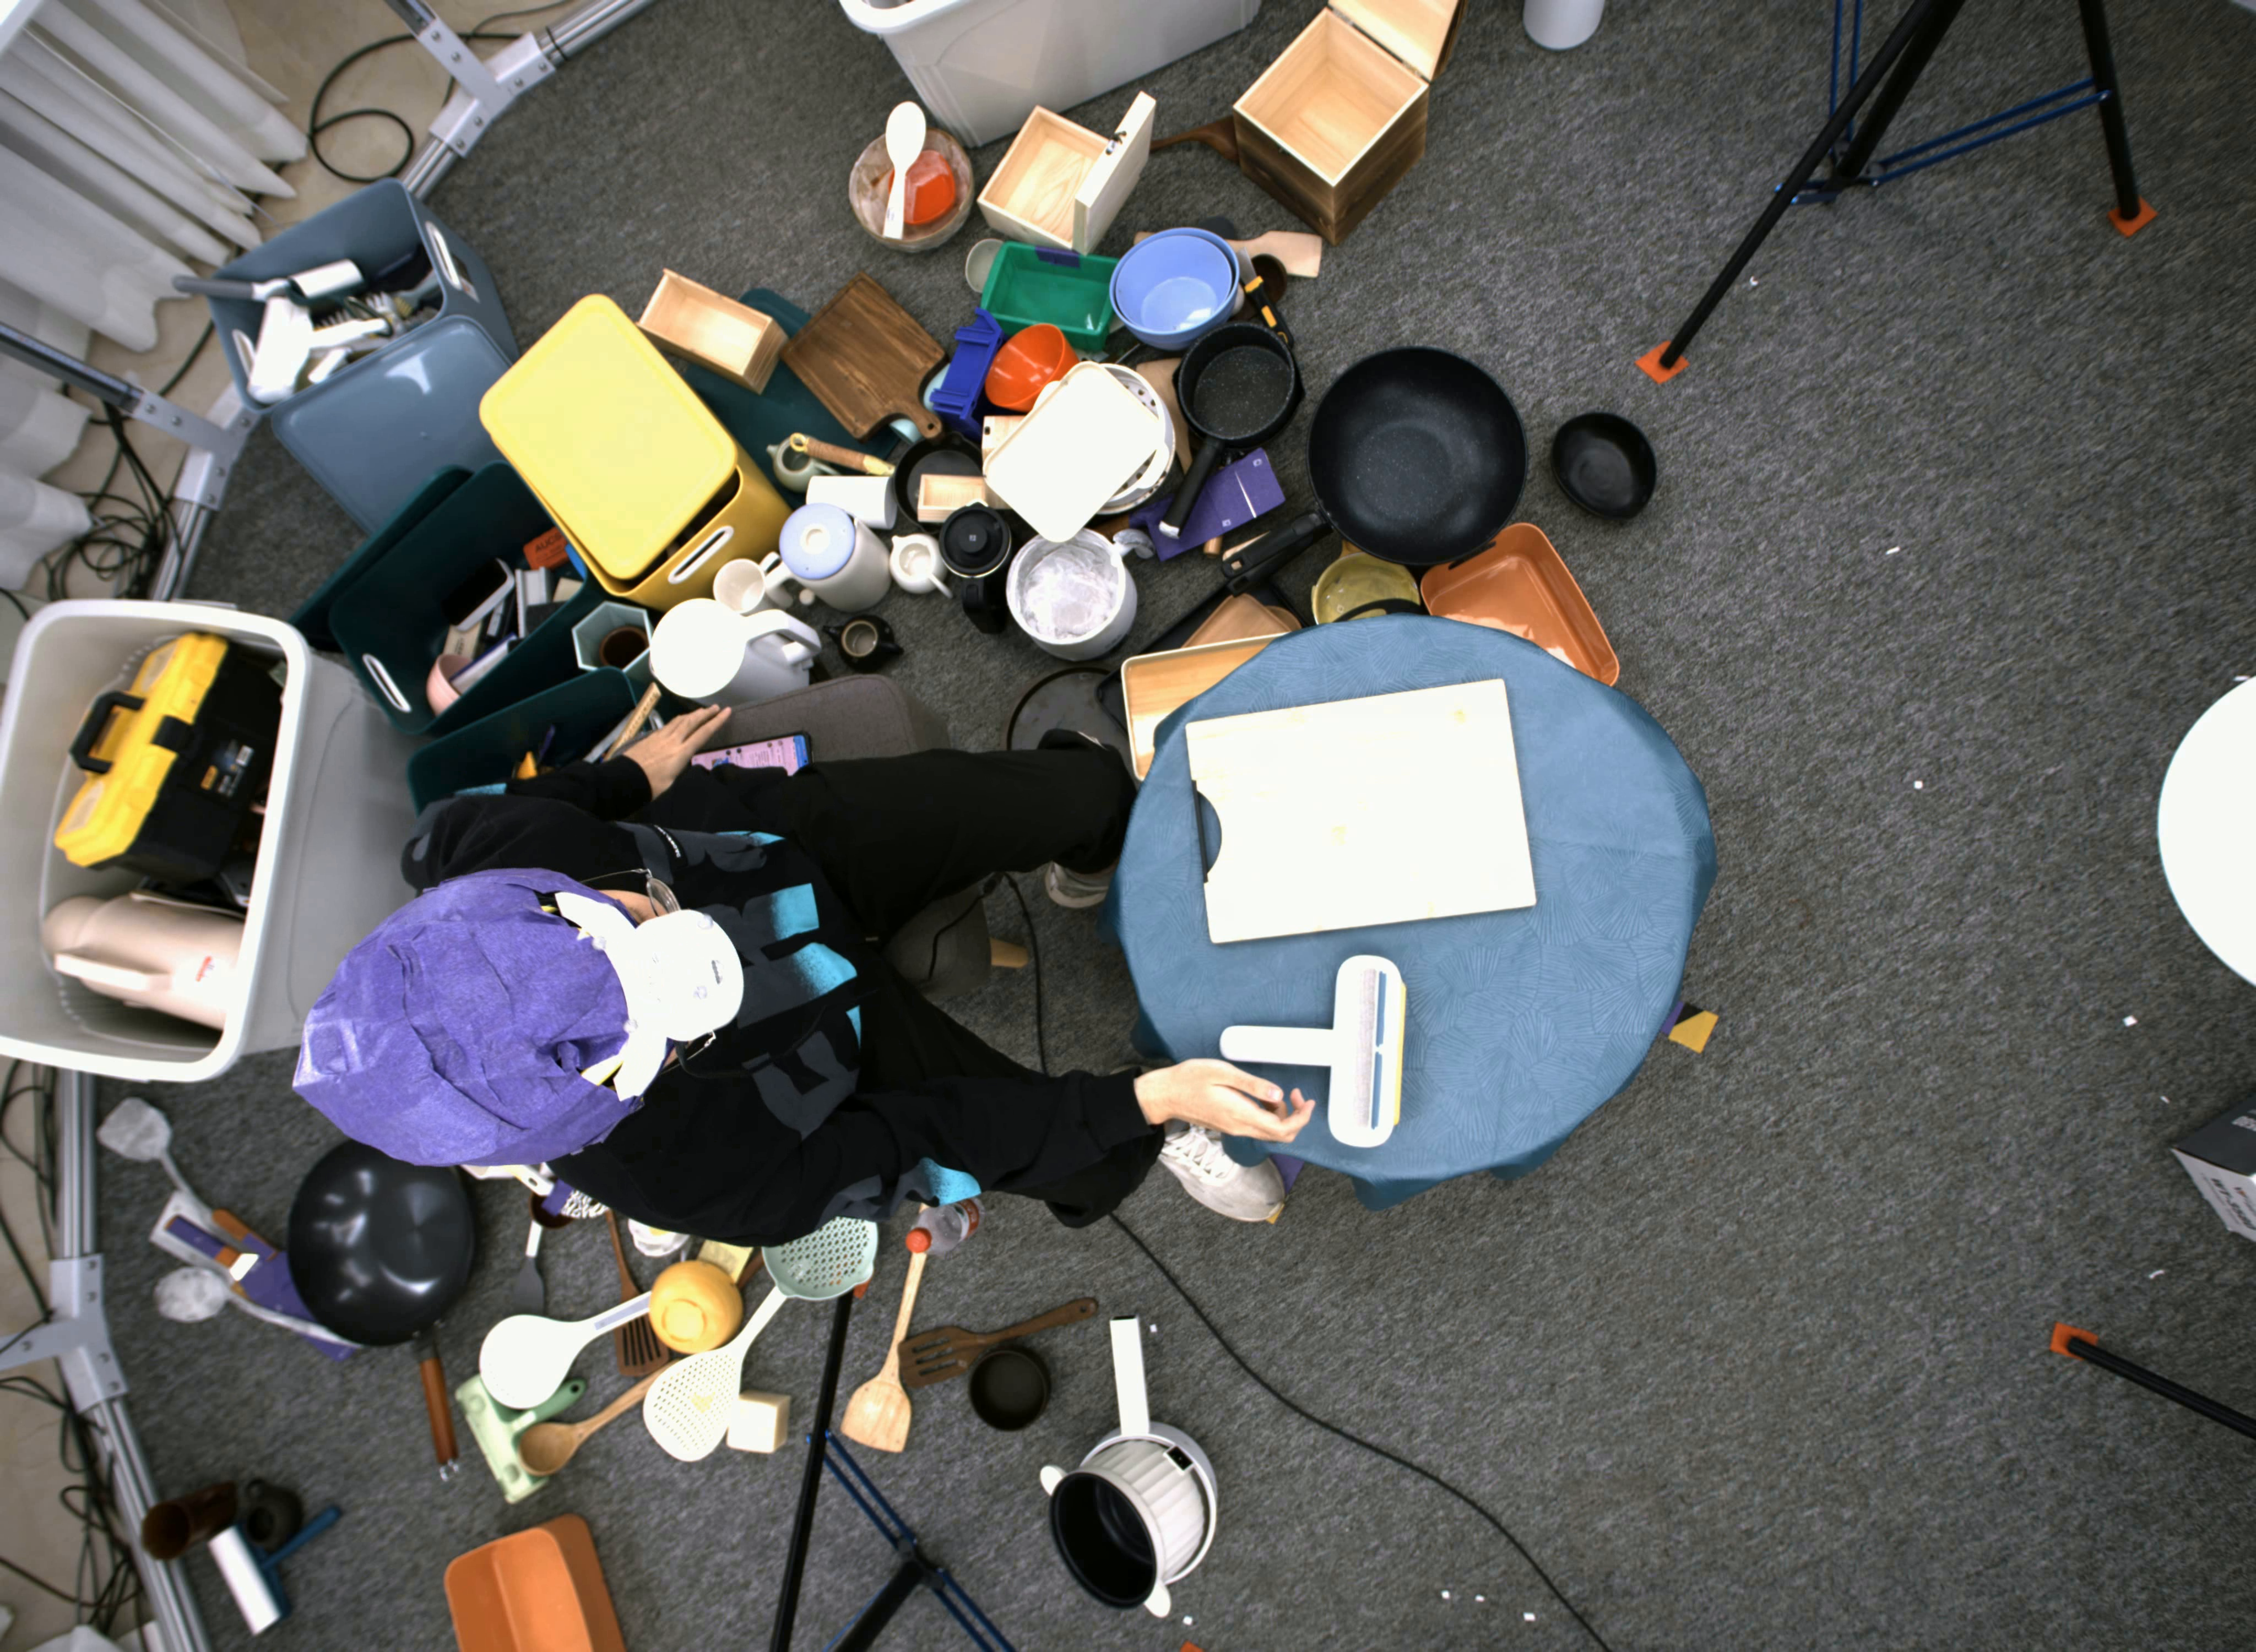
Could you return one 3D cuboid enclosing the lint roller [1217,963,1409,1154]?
[{"bbox_3d":[0.185,0.229,1.429,0.193,0.074,0.191,7,83,12],"label":"lint roller"}]

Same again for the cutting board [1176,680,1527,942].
[{"bbox_3d":[0.235,-0.016,1.458,0.350,0.023,0.249,-8,86,10],"label":"cutting board"}]
